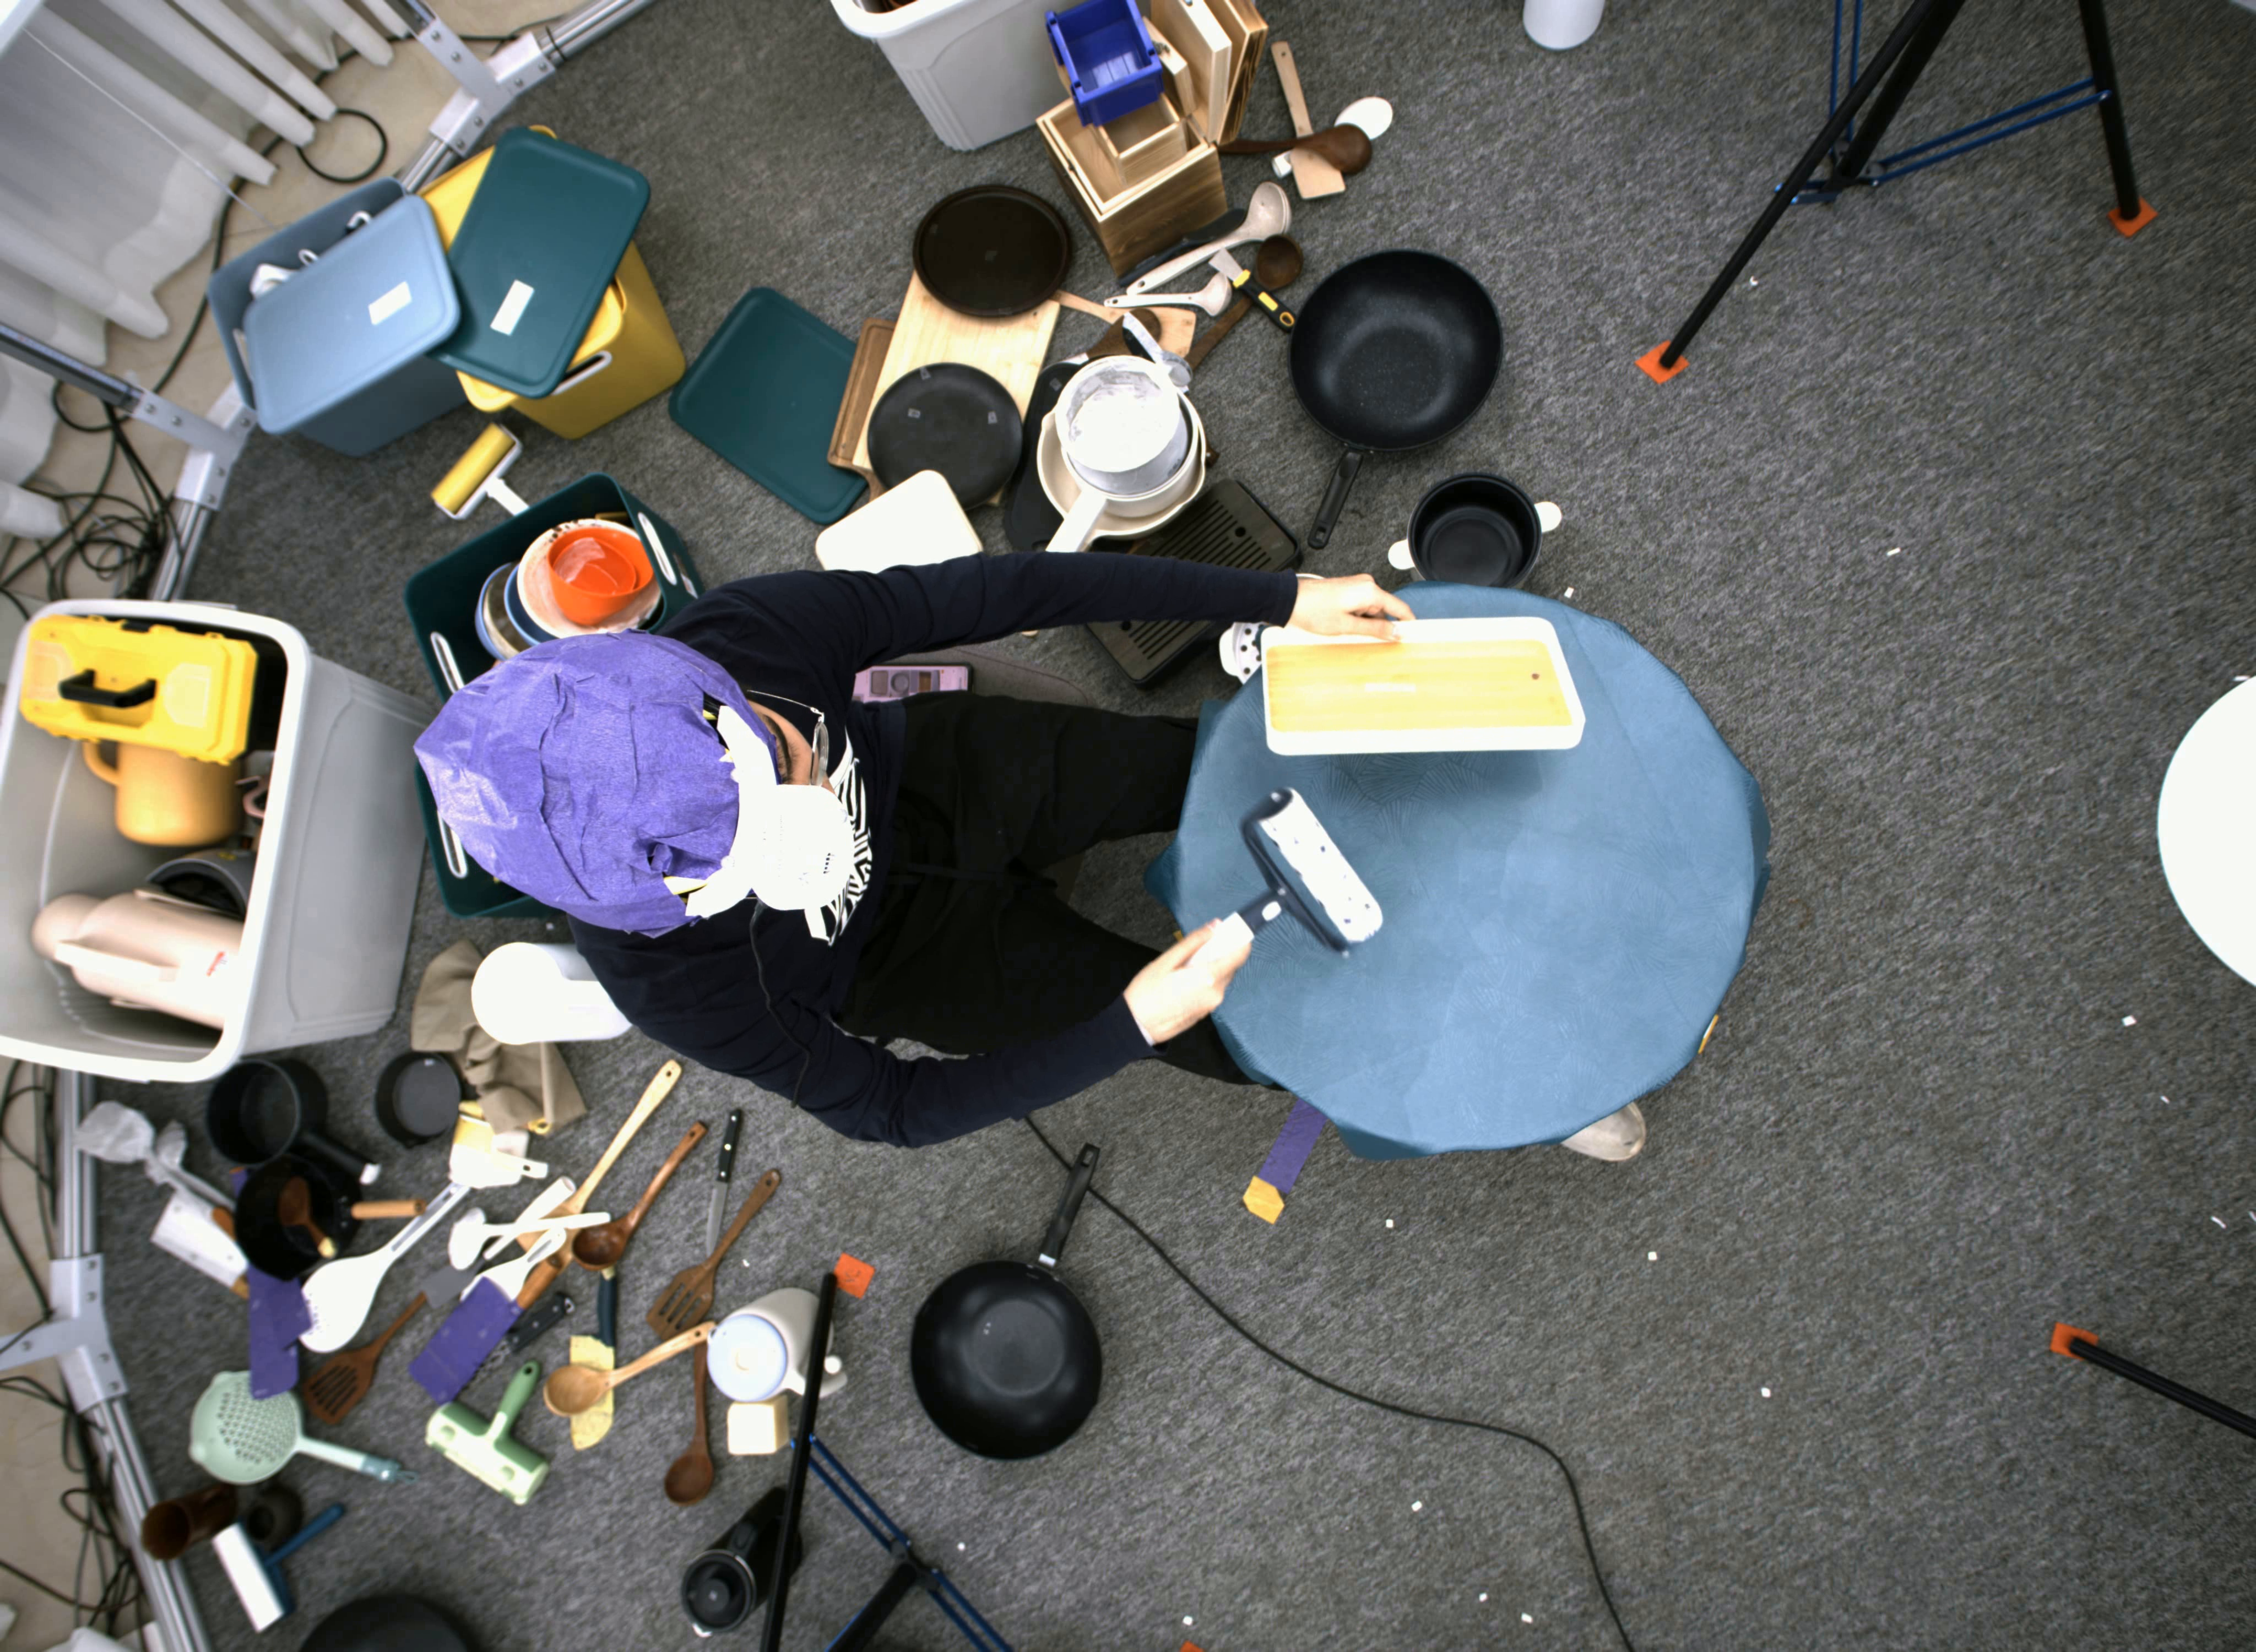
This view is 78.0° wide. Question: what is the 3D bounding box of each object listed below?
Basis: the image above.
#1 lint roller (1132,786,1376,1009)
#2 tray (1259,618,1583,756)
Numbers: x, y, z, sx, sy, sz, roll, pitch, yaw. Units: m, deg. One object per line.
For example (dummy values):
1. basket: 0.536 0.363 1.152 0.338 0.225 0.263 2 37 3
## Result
1. lint roller: 0.105 0.098 1.349 0.248 0.049 0.178 -41 115 4
2. tray: 0.281 -0.140 1.351 0.301 0.028 0.186 -1 45 5
